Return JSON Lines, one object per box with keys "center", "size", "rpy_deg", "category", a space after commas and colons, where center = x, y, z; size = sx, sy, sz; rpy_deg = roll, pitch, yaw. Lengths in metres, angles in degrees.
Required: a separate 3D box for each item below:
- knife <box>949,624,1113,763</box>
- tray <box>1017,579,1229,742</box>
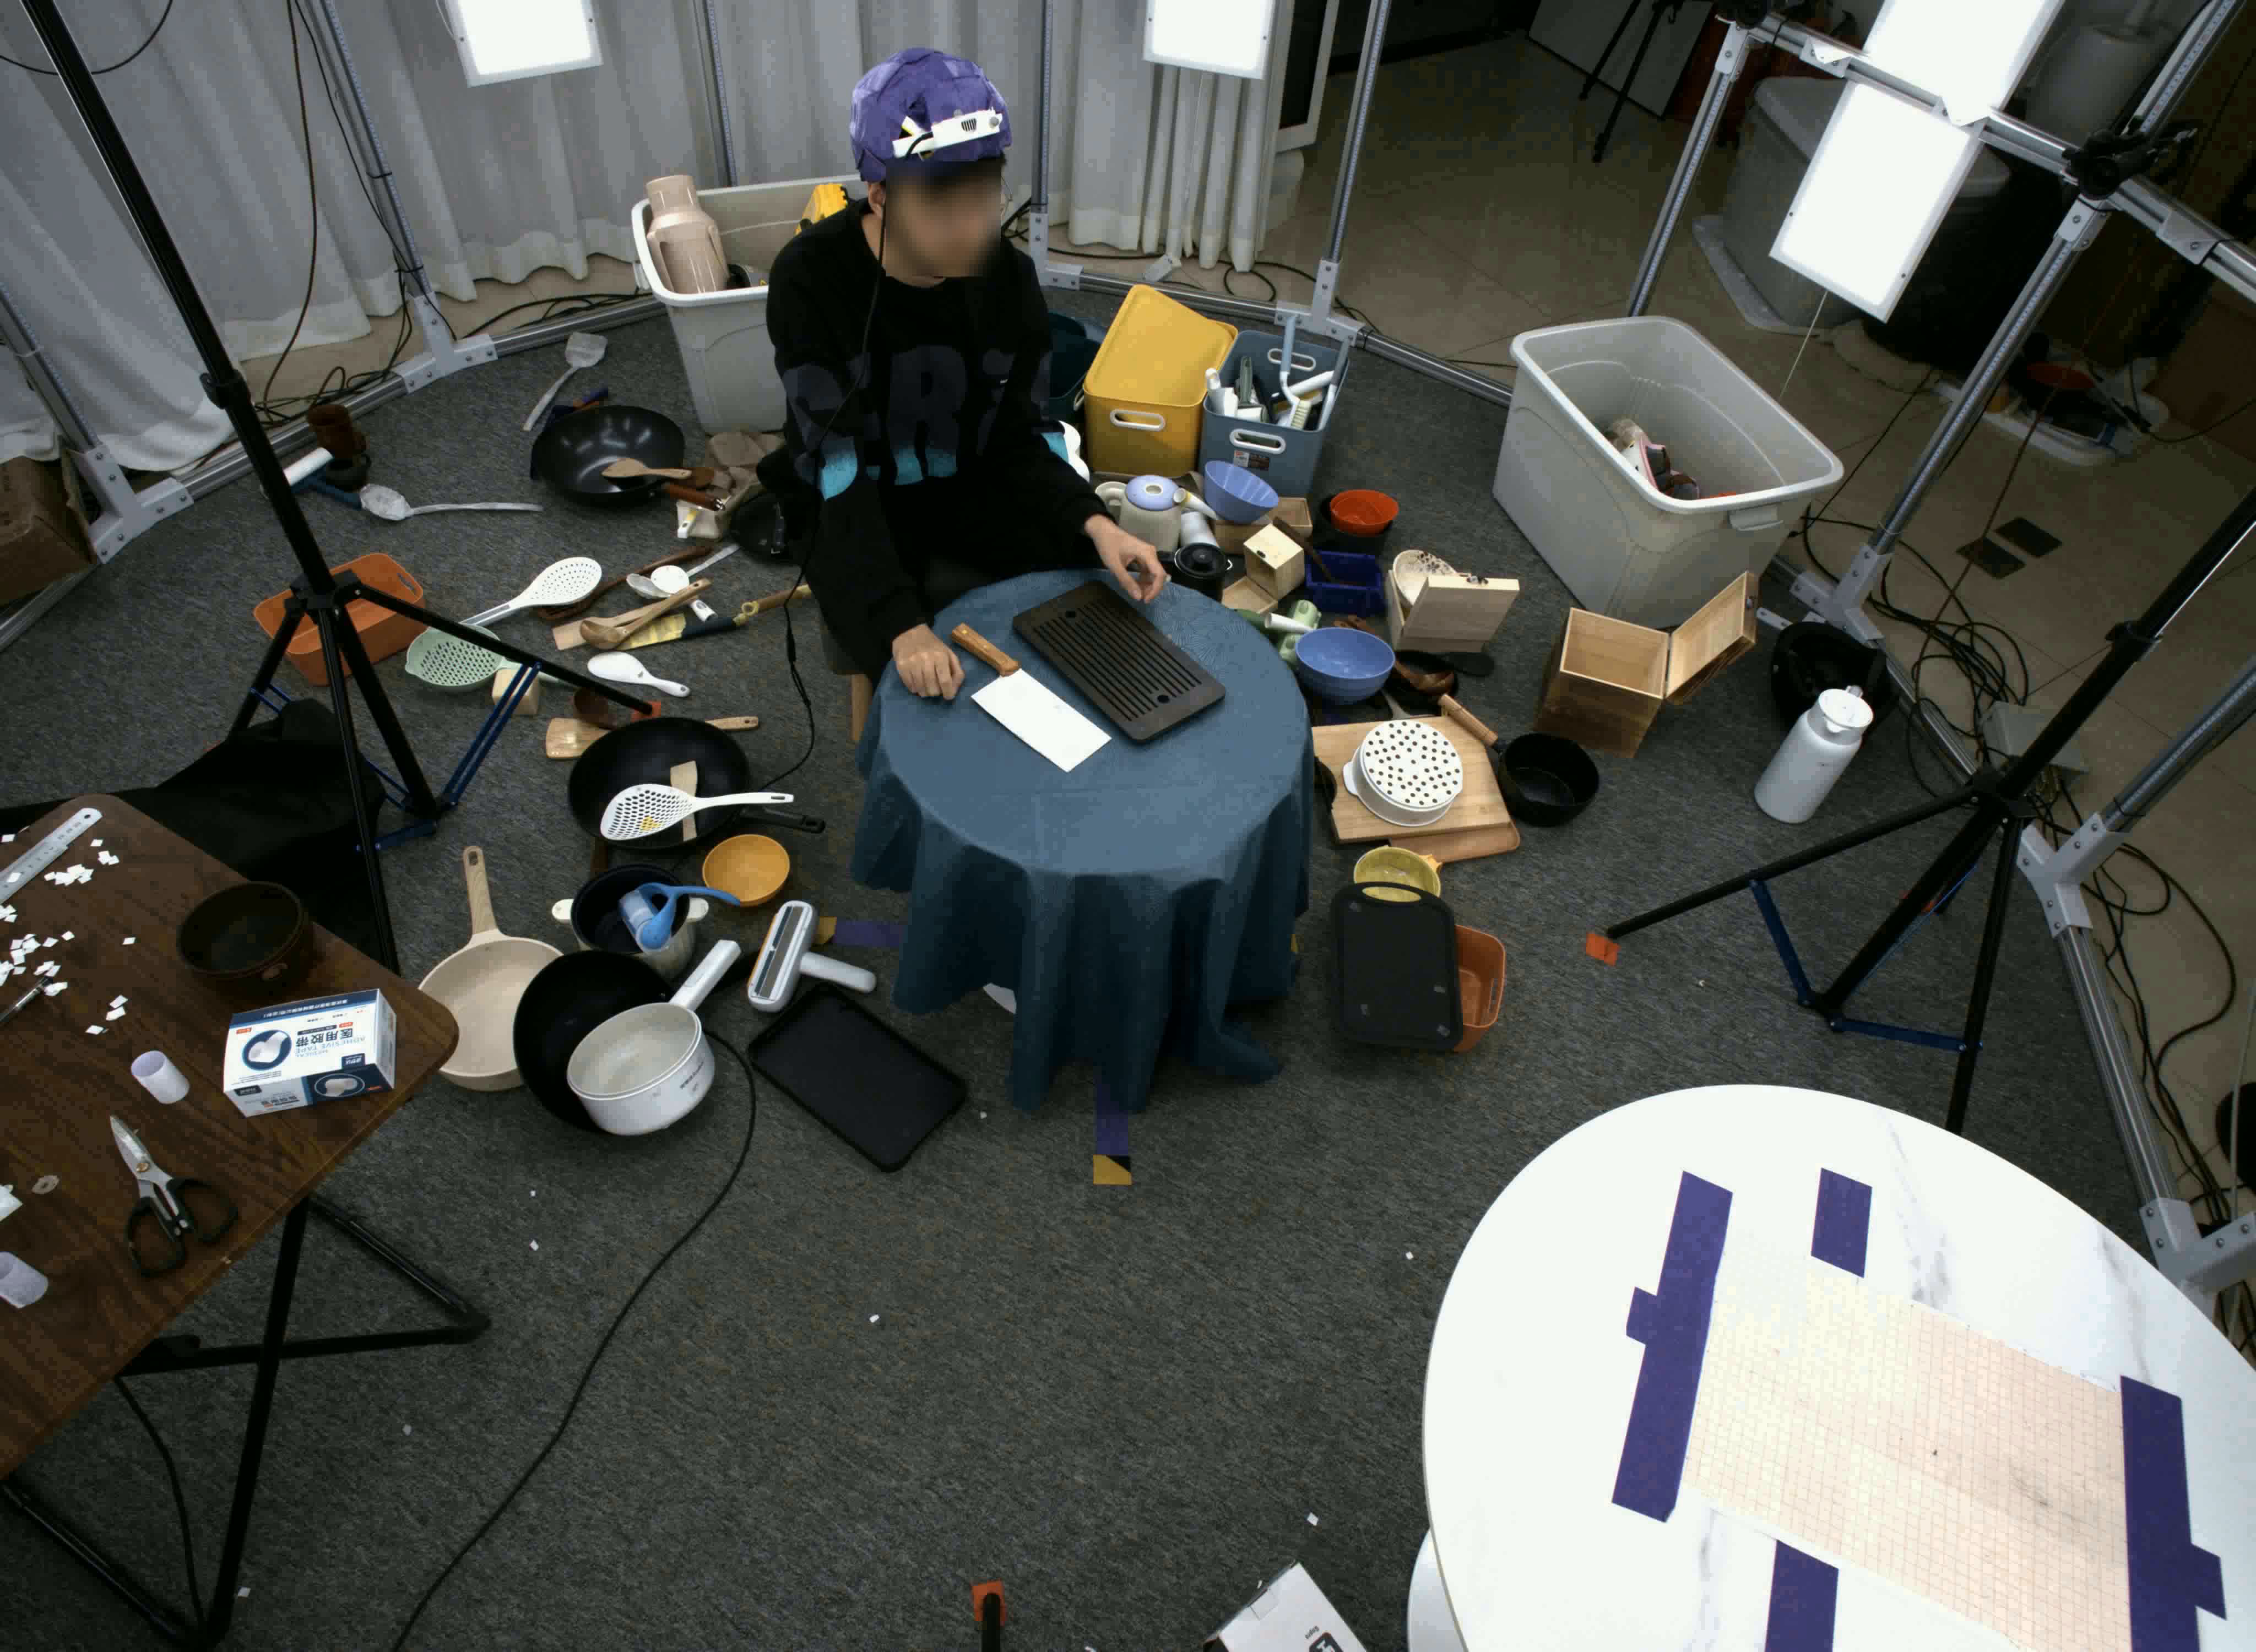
{"center": [-0.158, -0.185, 1.809], "size": [0.310, 0.020, 0.094], "rpy_deg": [38, 58, 23], "category": "knife"}
{"center": [-0.011, -0.245, 1.868], "size": [0.171, 0.018, 0.311], "rpy_deg": [-29, 57, -25], "category": "tray"}
